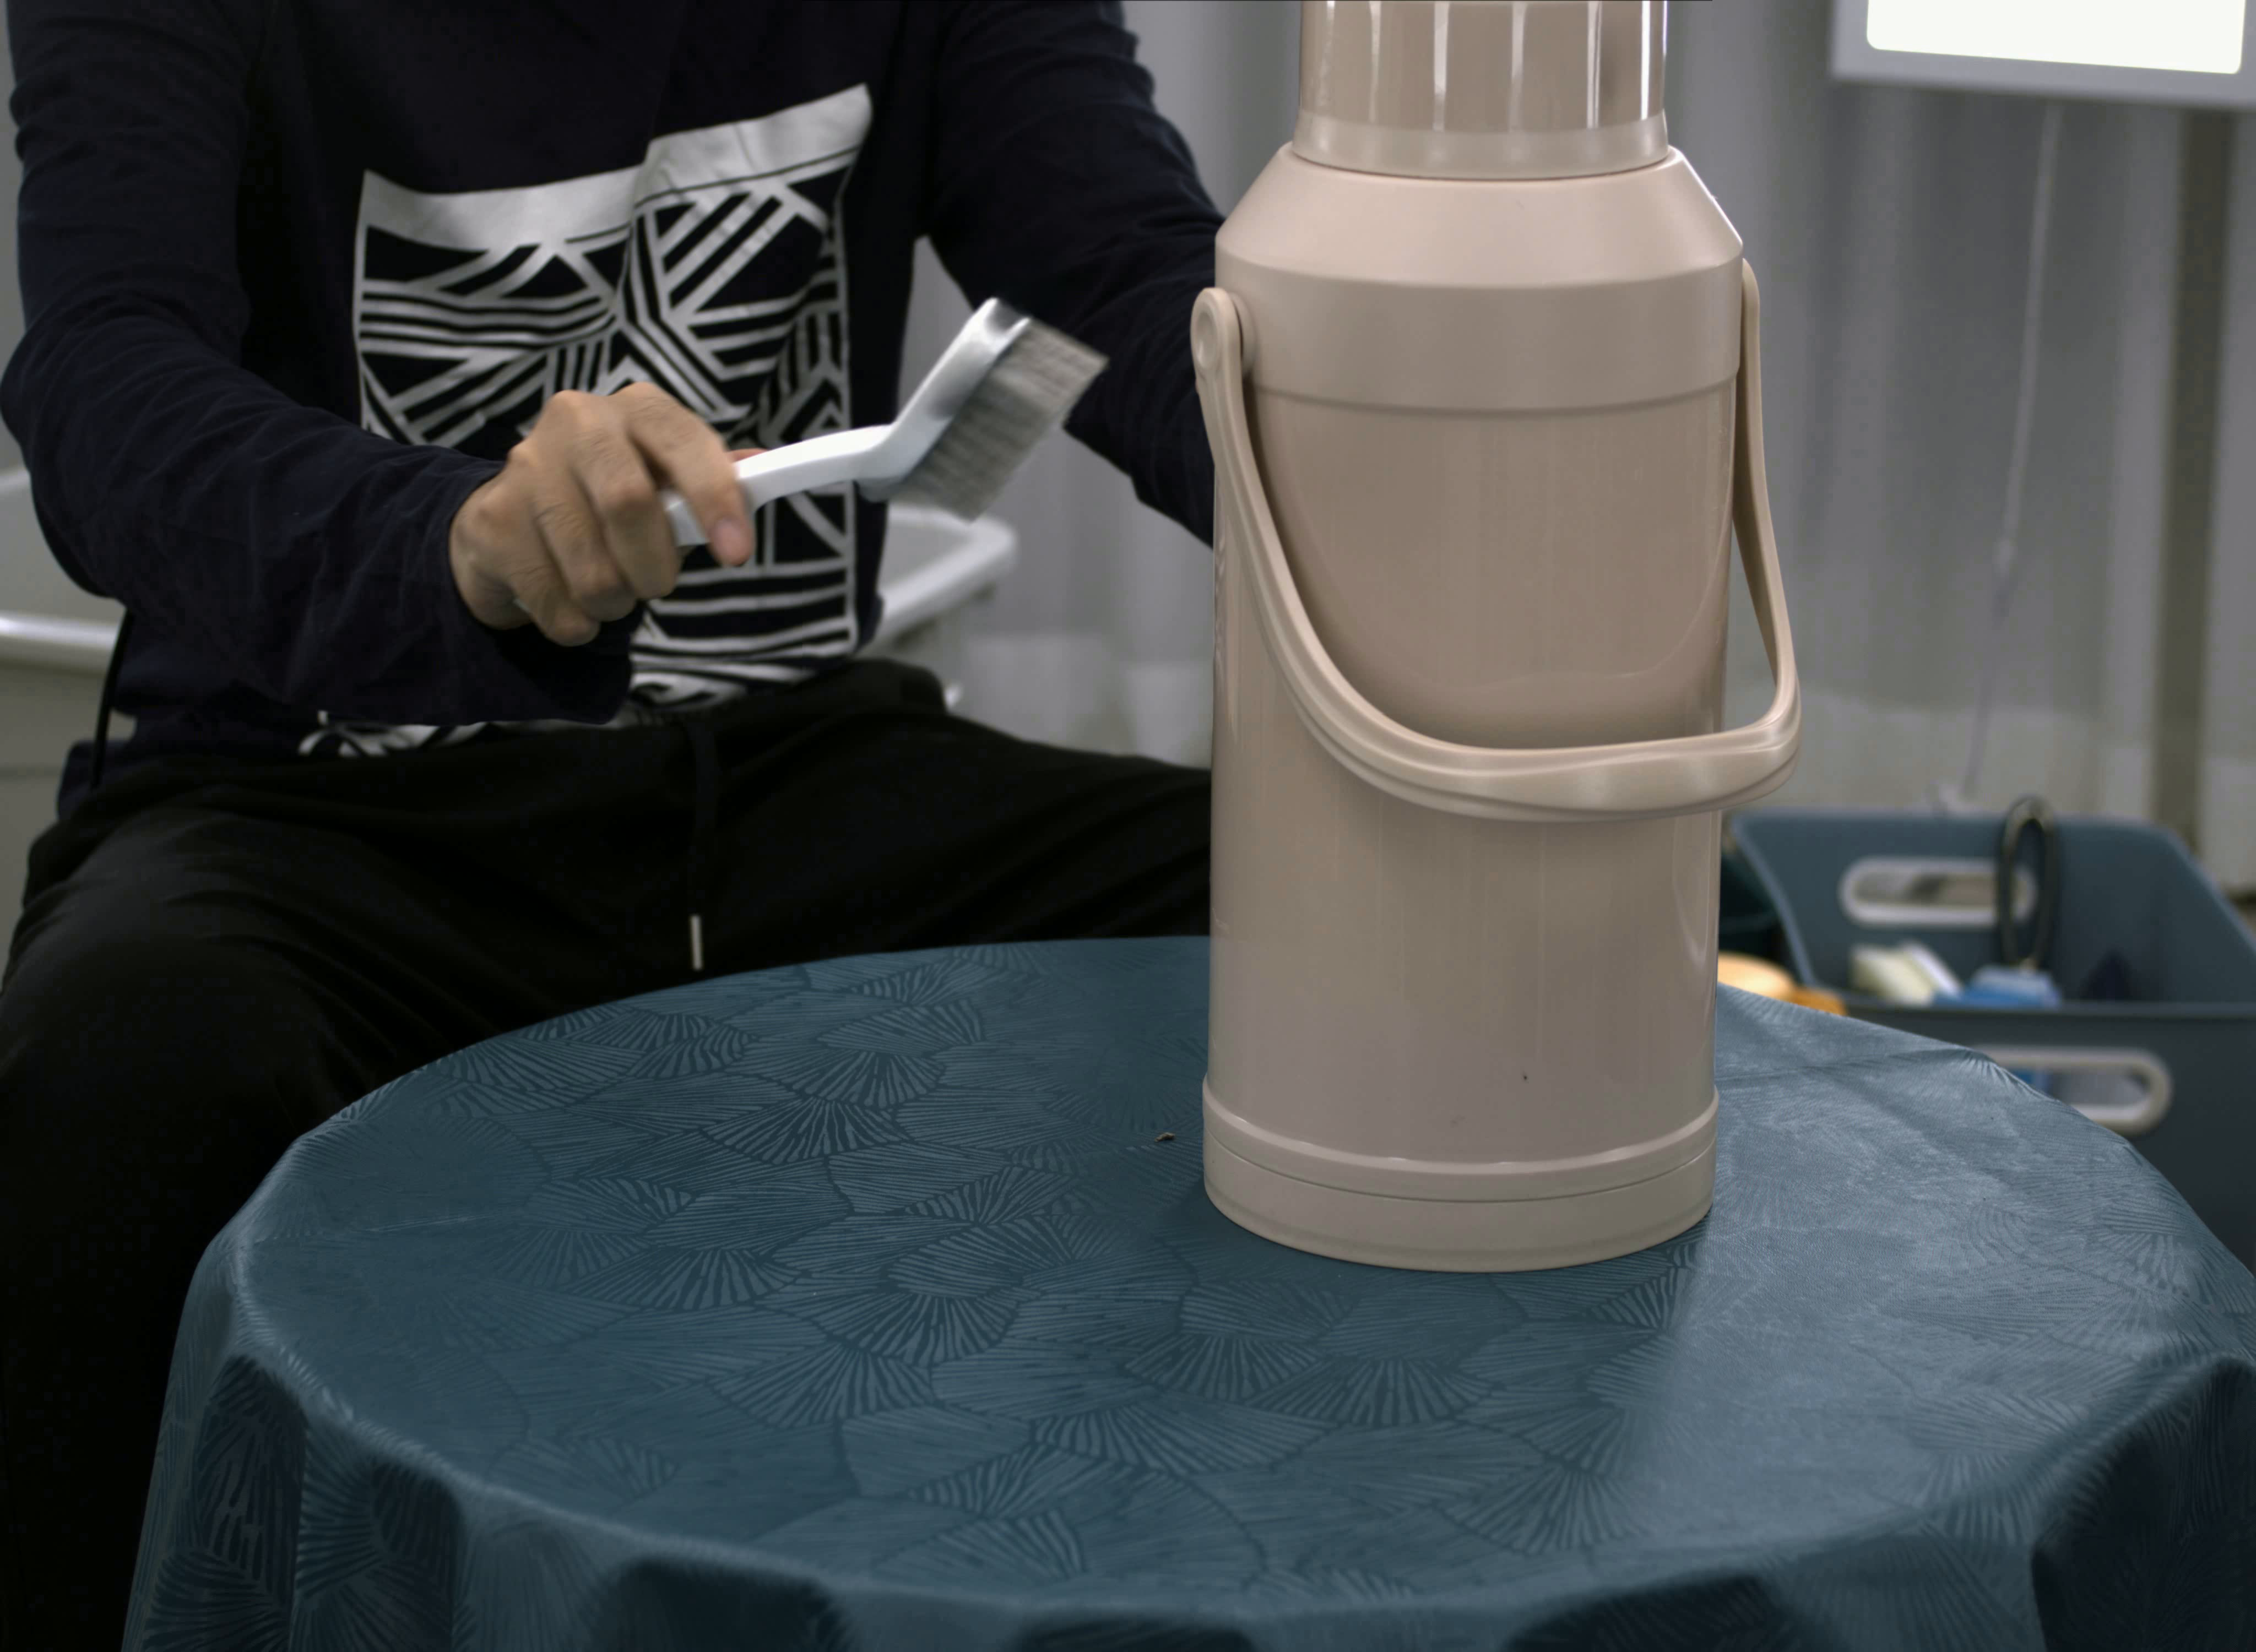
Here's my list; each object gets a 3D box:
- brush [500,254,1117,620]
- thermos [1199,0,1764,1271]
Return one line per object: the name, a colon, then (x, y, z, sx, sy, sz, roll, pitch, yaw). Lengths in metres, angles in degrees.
brush: (-0.093, -0.096, 1.523, 0.242, 0.050, 0.034, -27, 23, 40)
thermos: (0.102, -0.083, 1.591, 0.176, 0.410, 0.204, -8, 18, -22)
